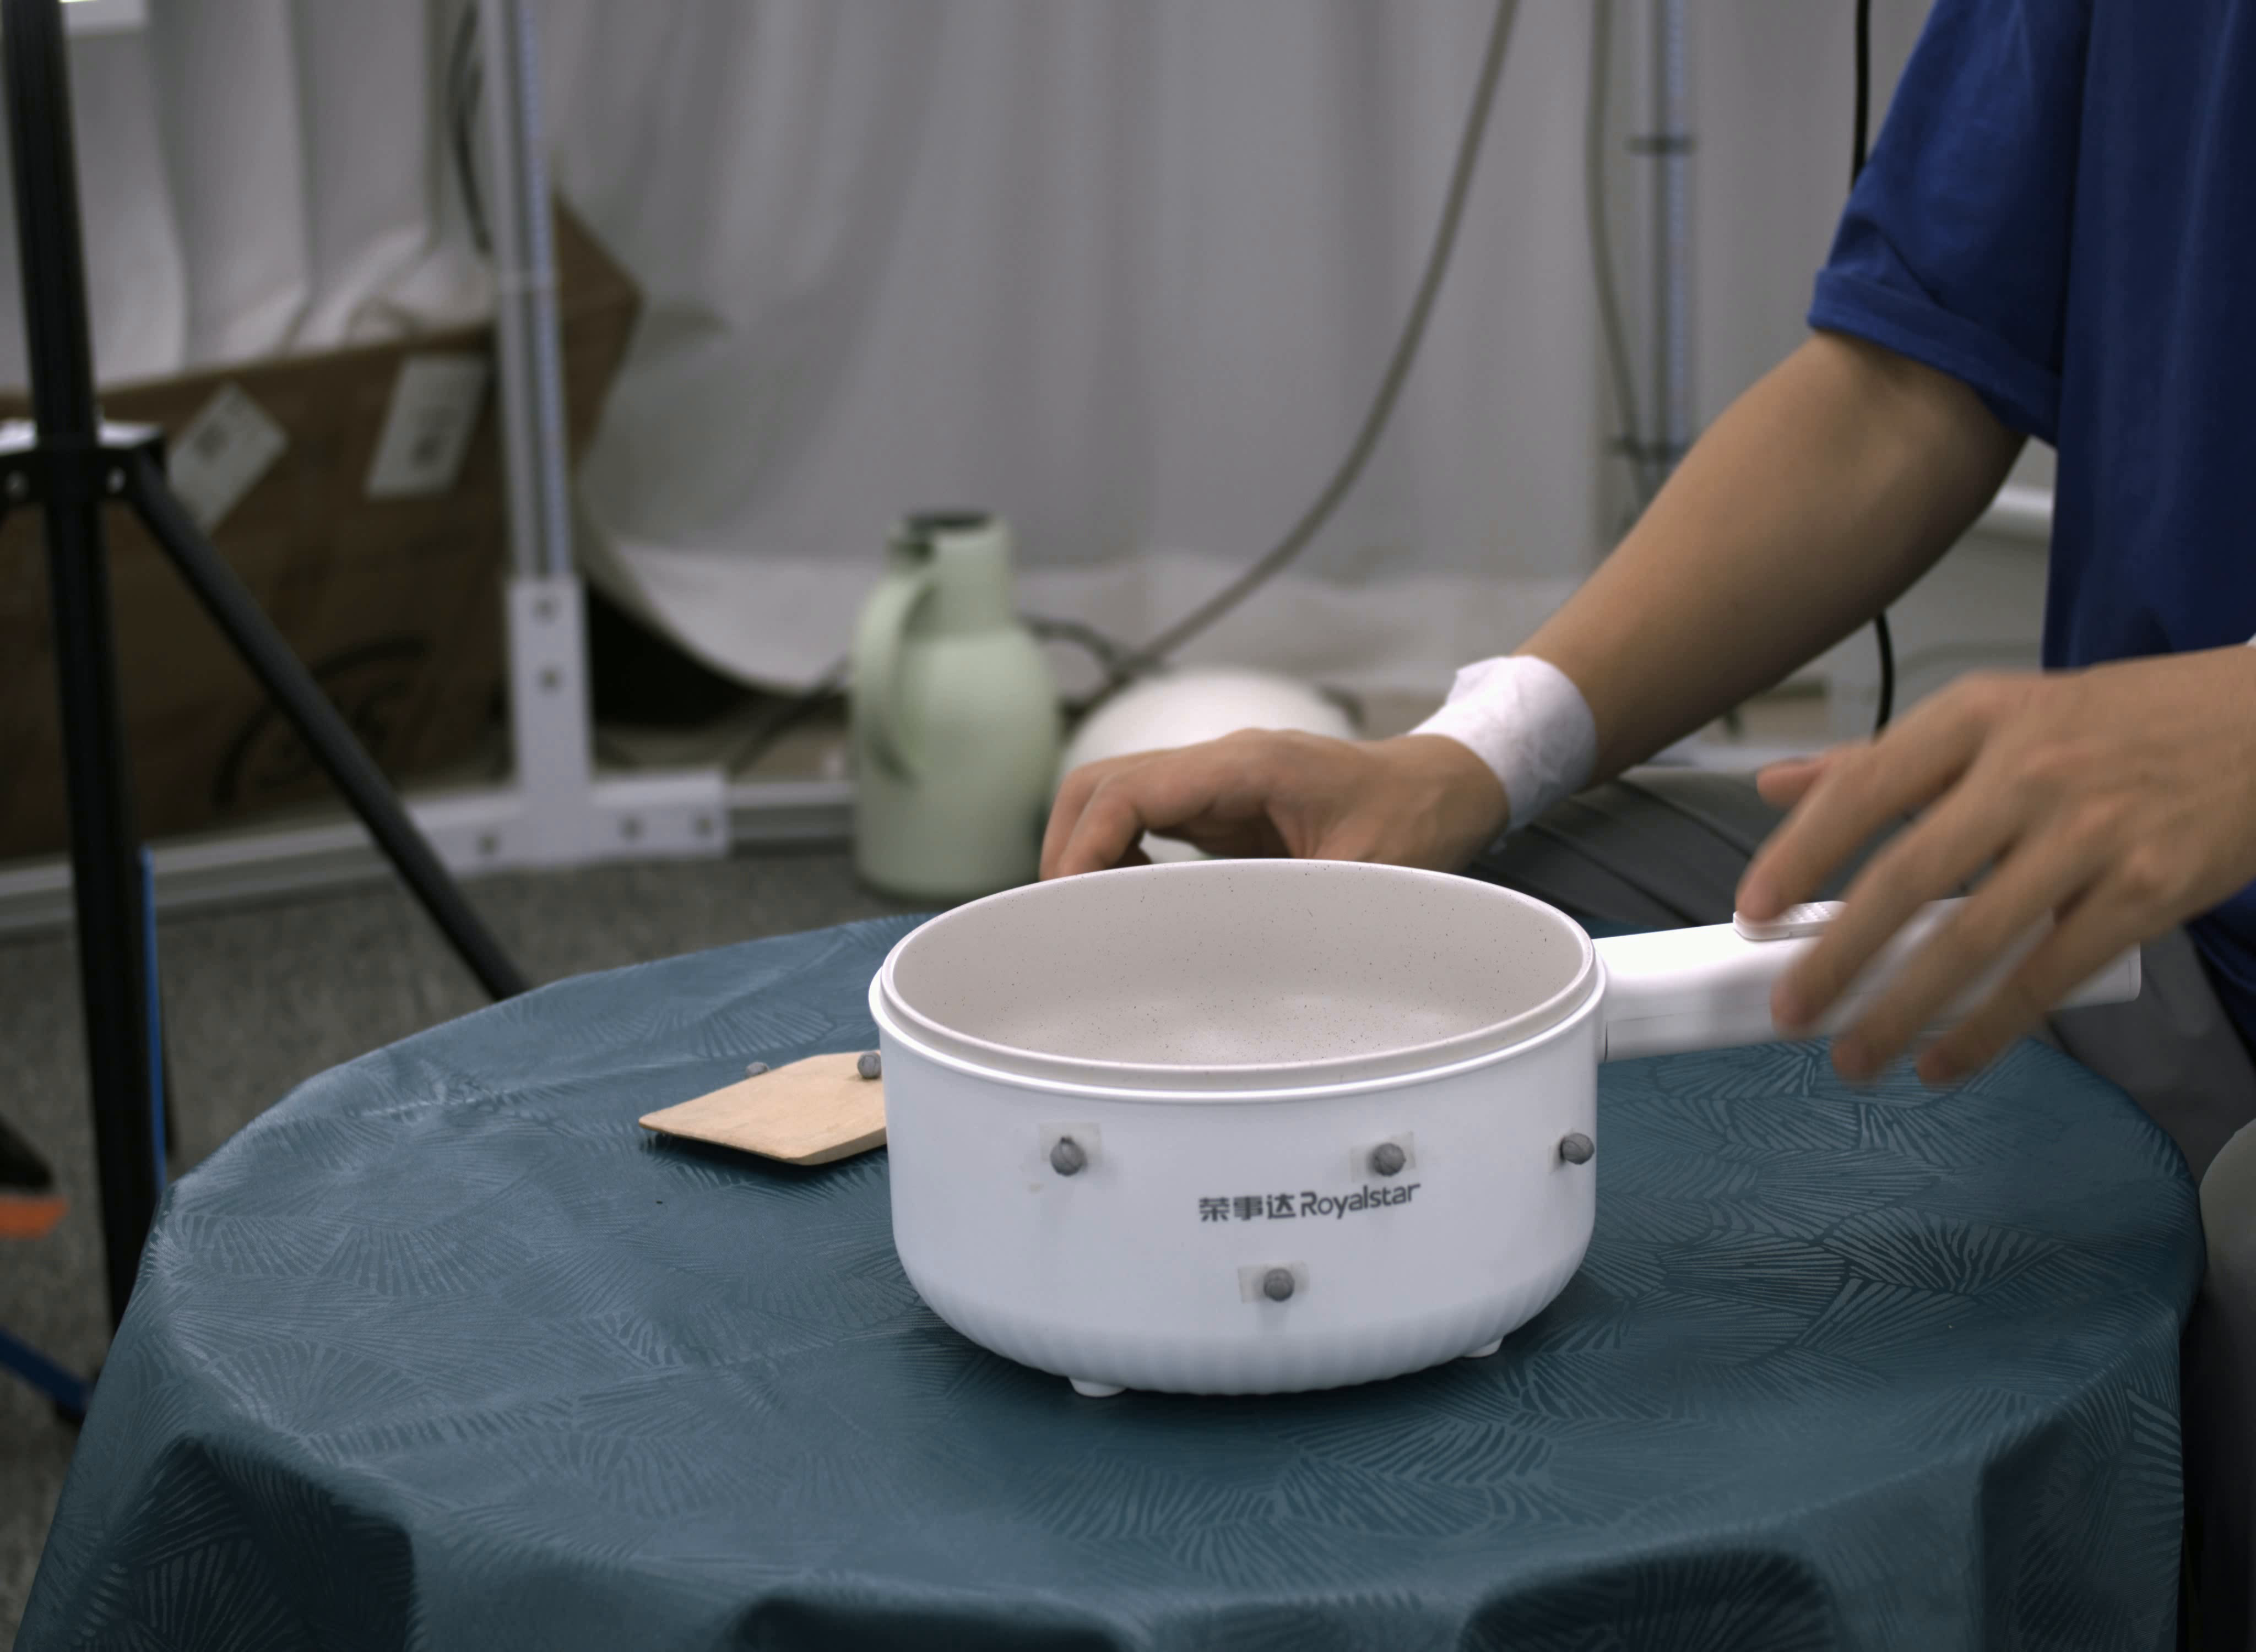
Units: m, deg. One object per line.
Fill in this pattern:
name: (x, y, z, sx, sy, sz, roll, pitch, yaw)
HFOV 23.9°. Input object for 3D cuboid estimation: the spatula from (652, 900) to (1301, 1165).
spatula: (-0.031, 0.063, 1.705, 0.074, 0.010, 0.287, 9, 20, 39)

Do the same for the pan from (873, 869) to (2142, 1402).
pan: (0.107, 0.079, 1.464, 0.350, 0.102, 0.203, -5, 14, -9)
